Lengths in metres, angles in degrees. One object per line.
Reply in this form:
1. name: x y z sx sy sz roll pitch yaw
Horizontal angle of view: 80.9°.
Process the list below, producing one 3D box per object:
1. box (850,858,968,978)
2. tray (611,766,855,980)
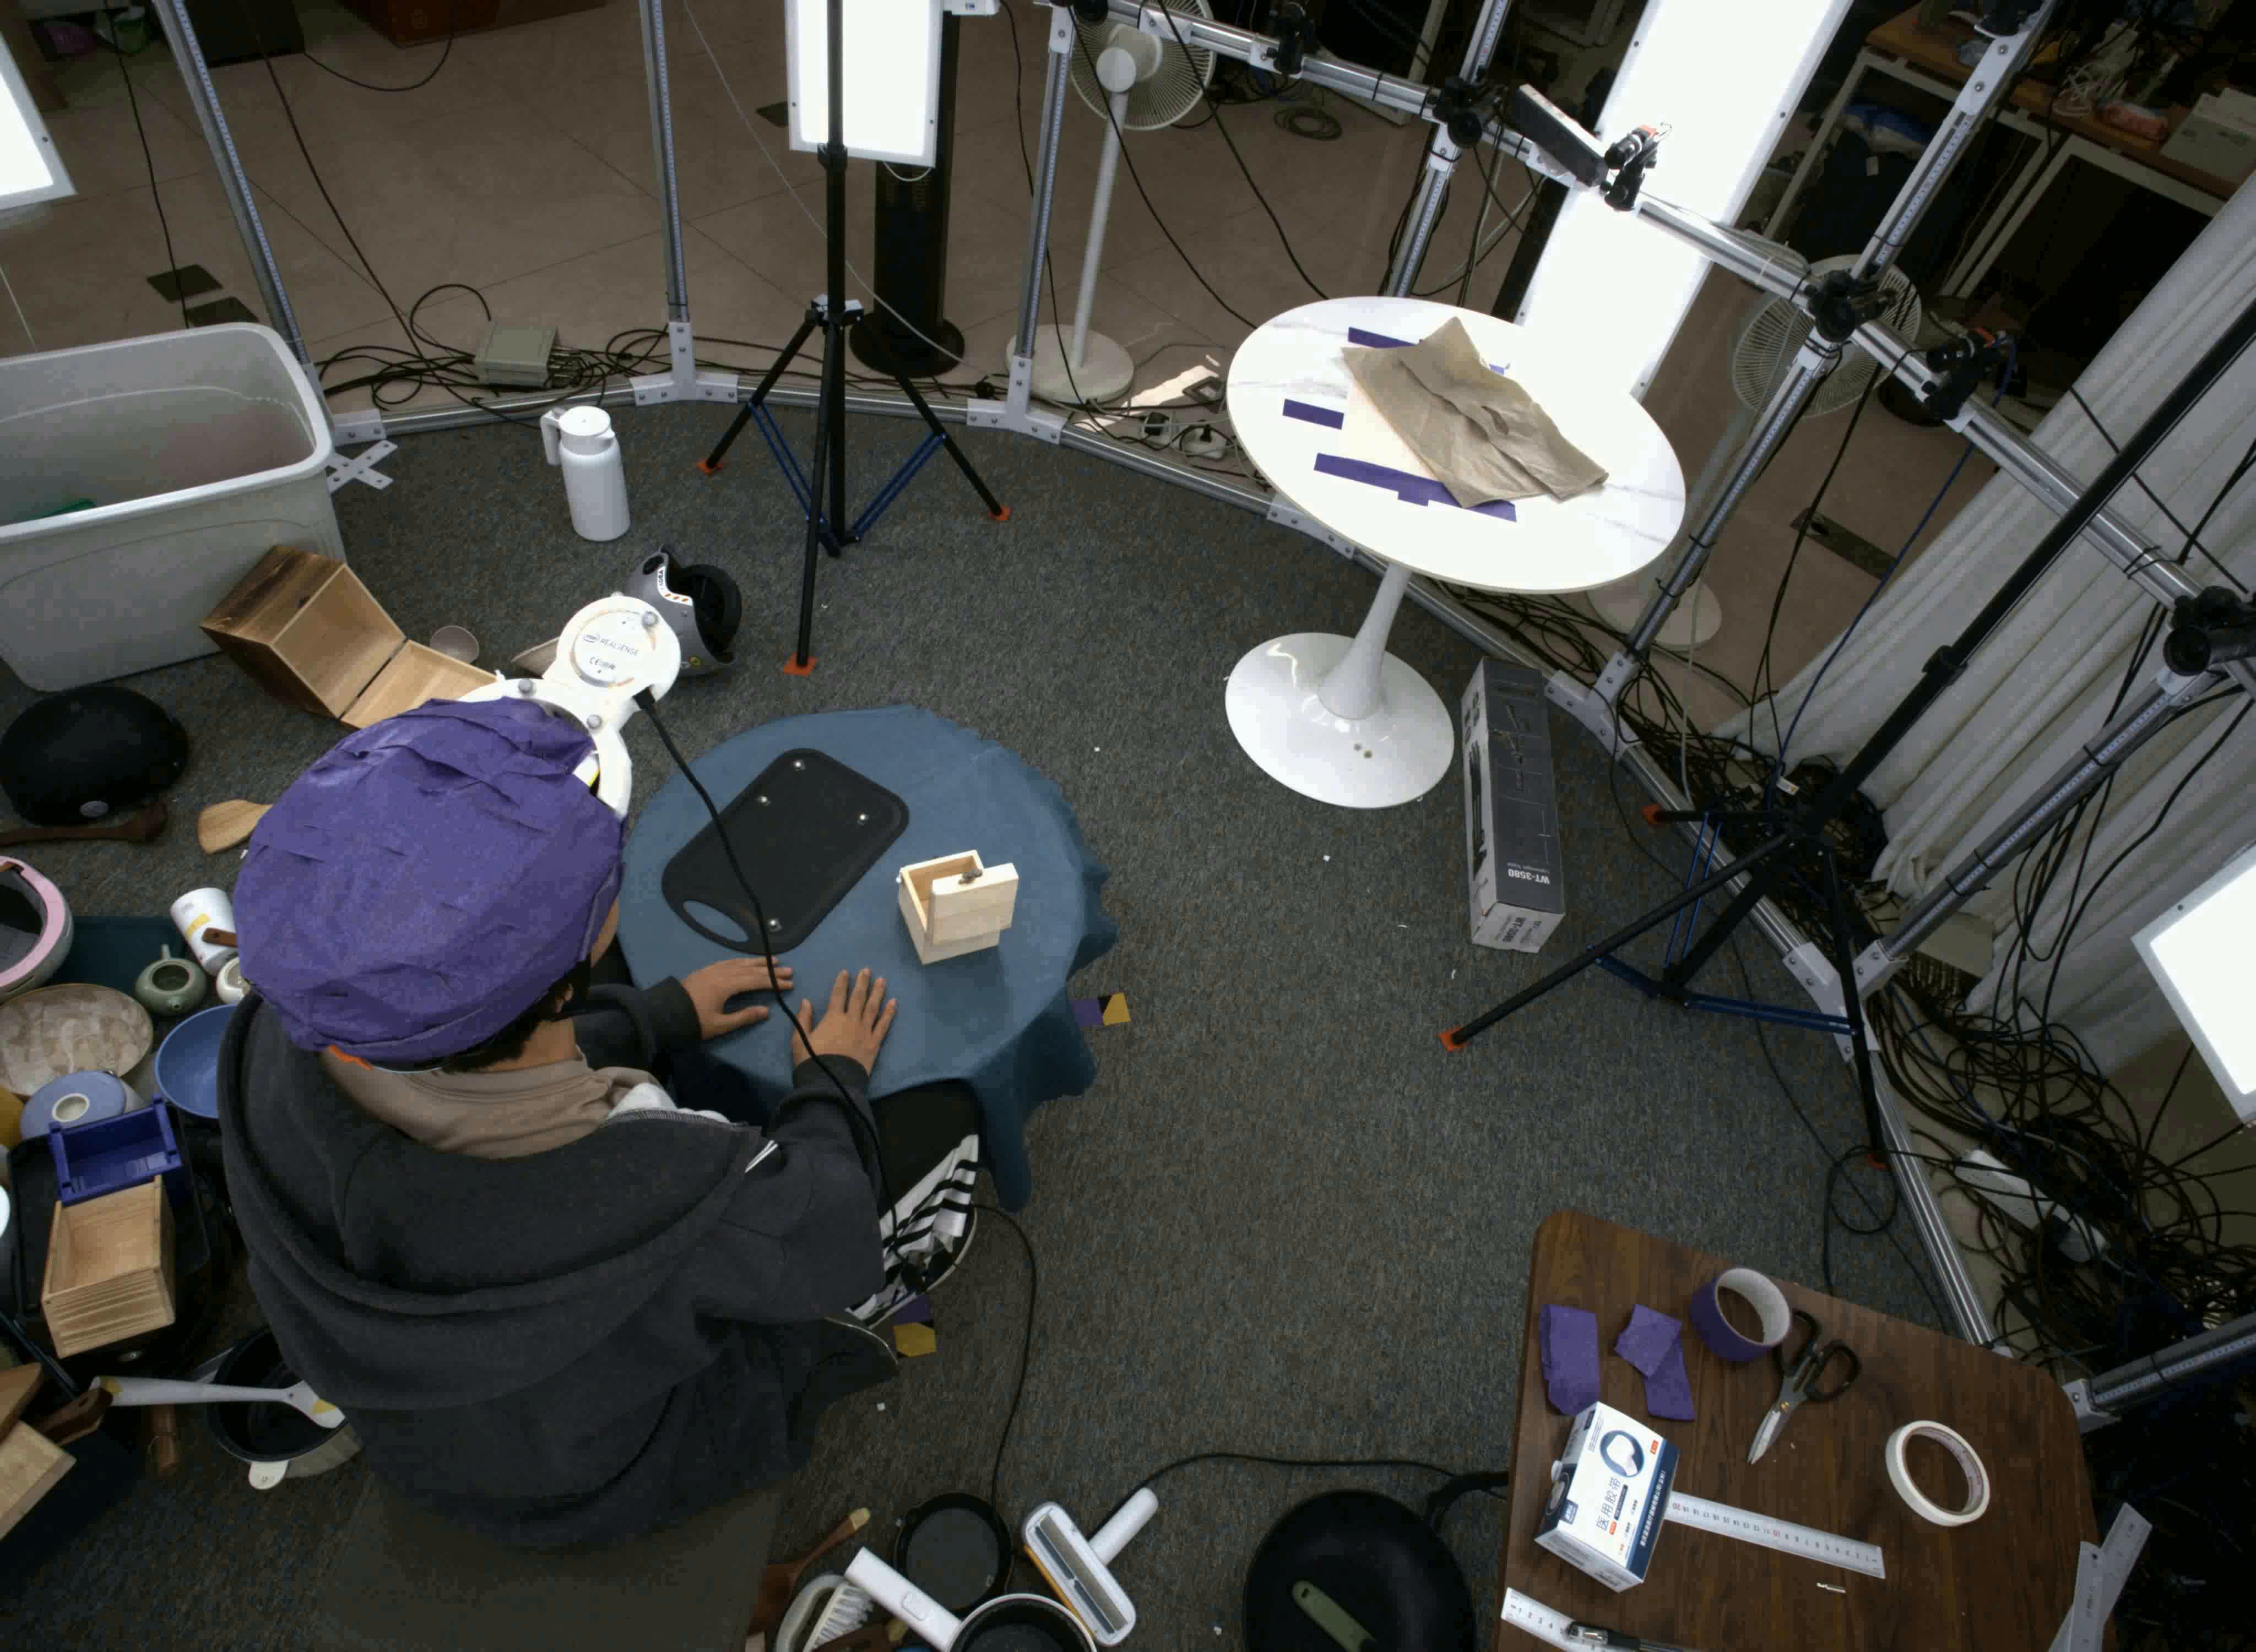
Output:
1. box: -0.270 0.087 1.584 0.103 0.188 0.130 -18 59 -25
2. tray: -0.509 0.055 1.662 0.208 0.010 0.324 28 52 7
